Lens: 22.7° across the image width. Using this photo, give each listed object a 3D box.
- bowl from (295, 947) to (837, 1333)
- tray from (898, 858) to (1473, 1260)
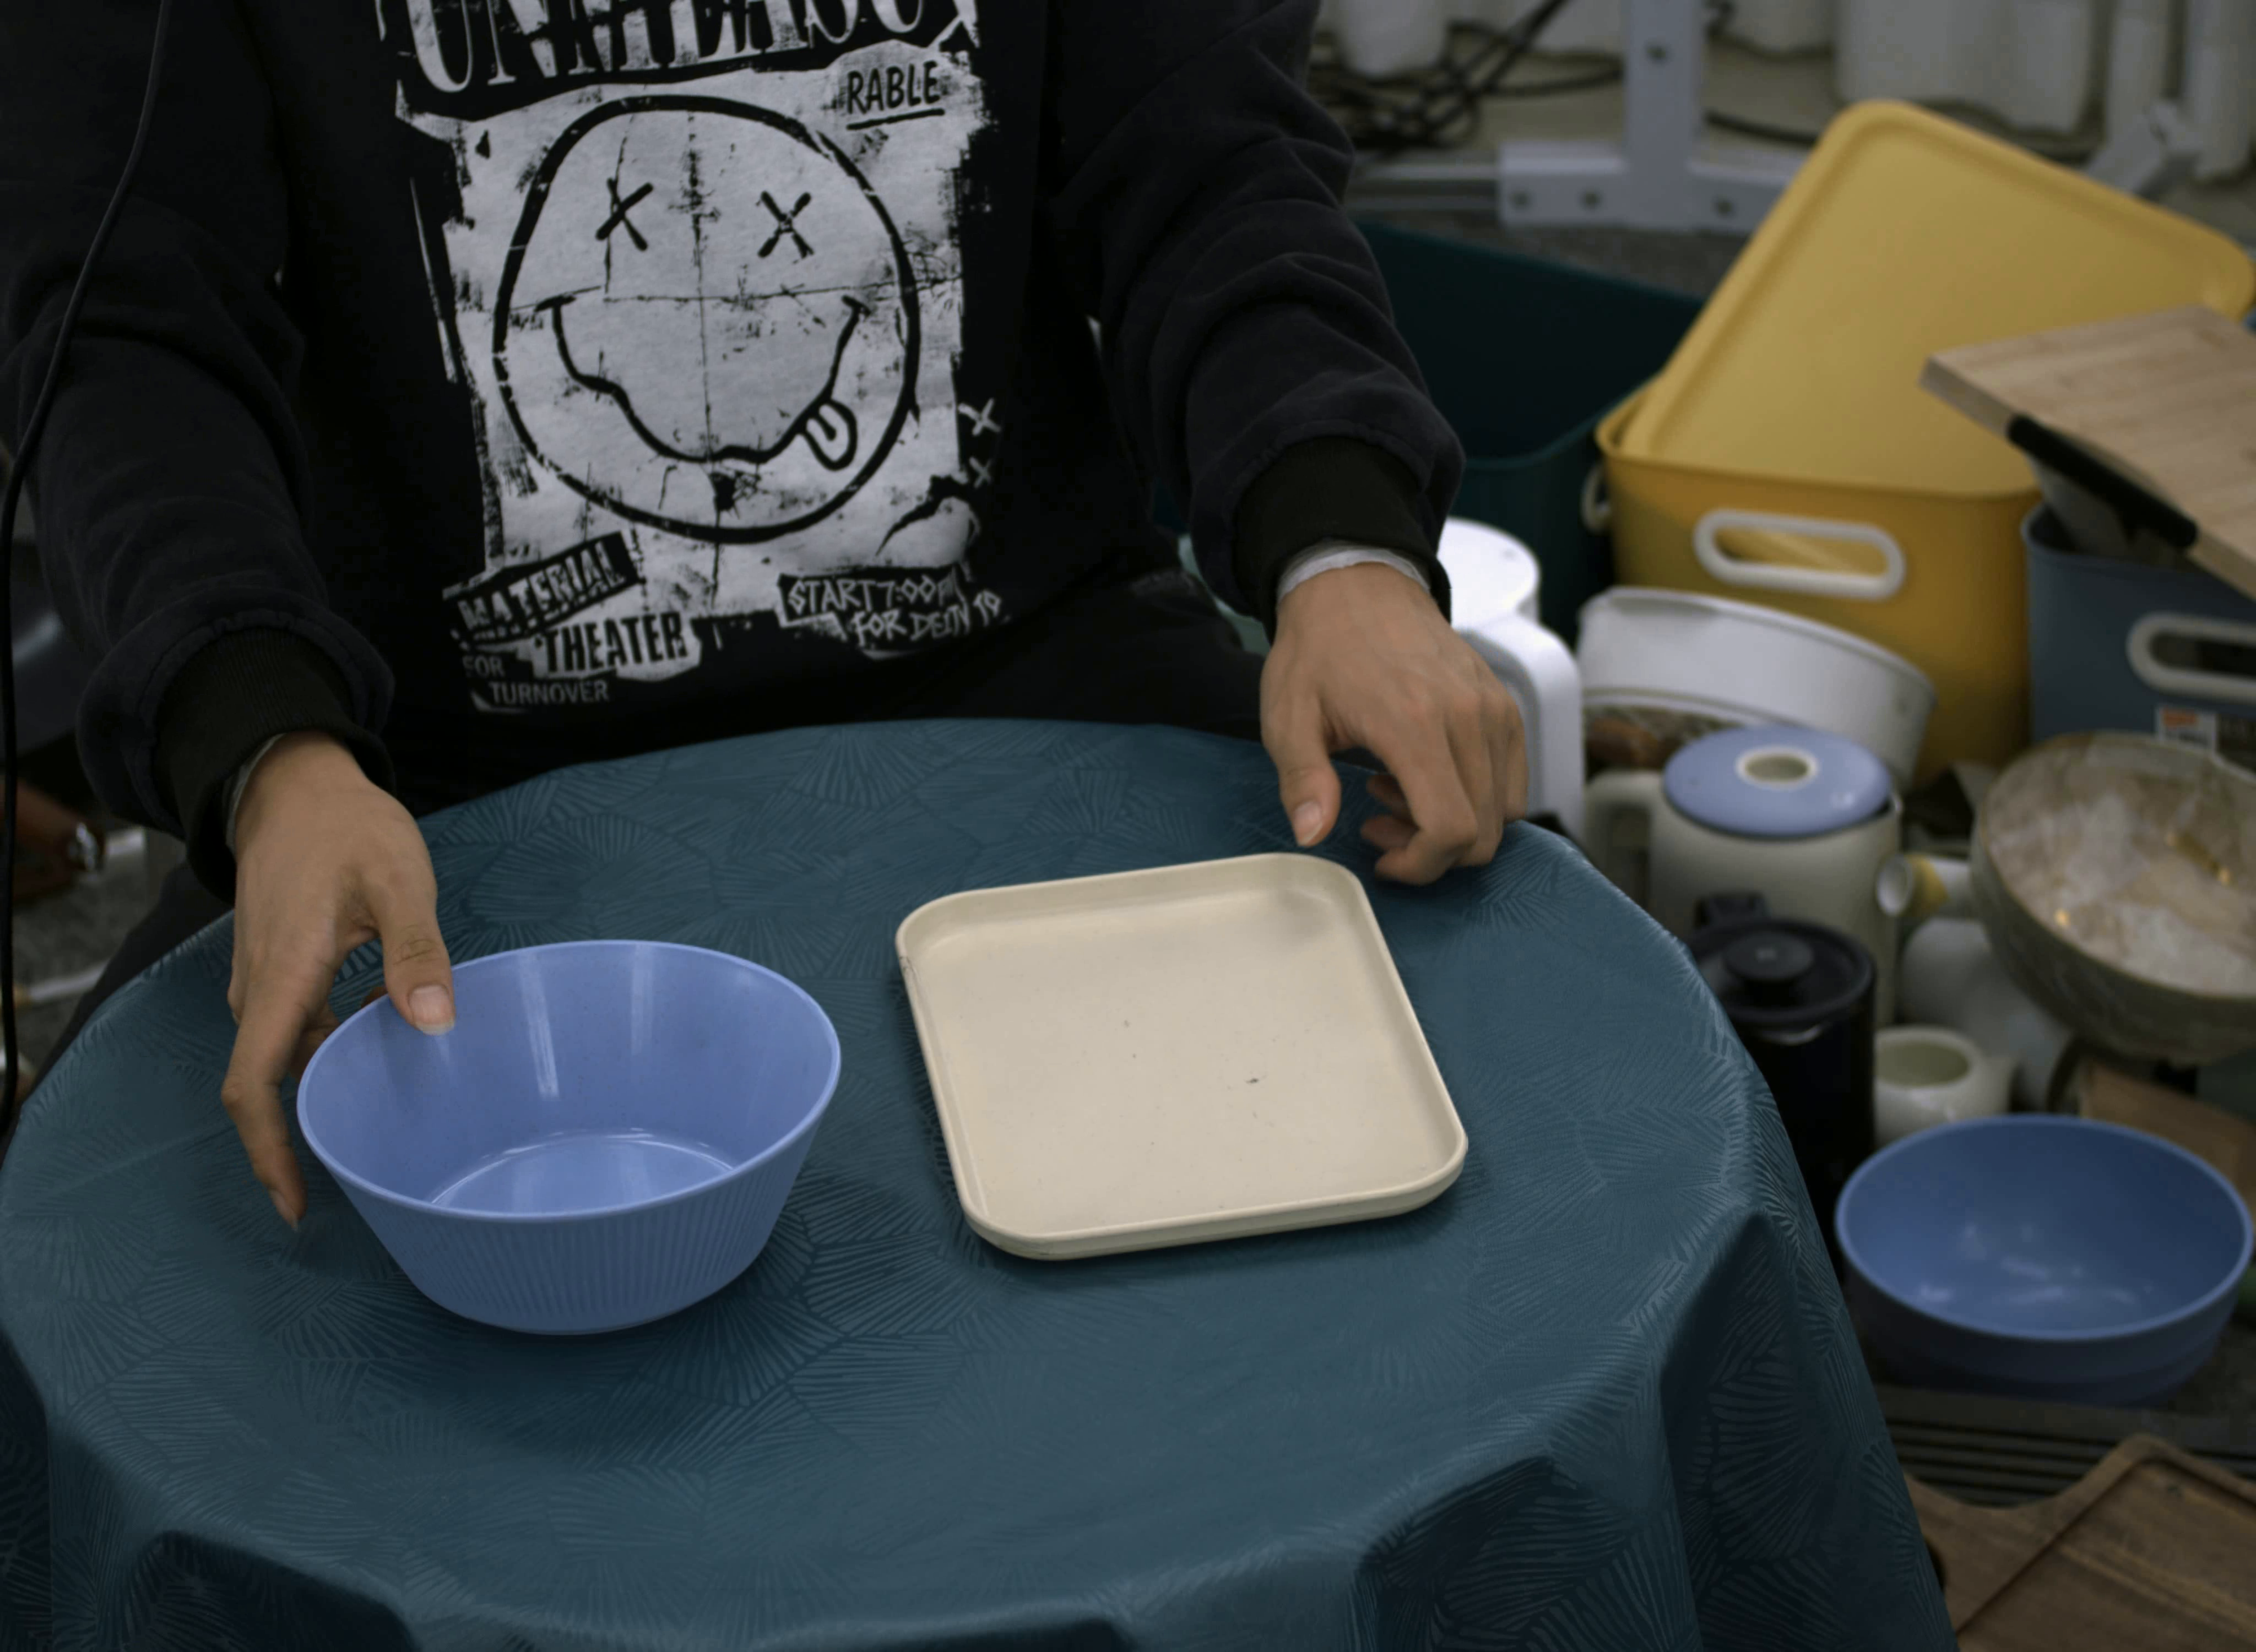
[{"bbox_3d":[-0.180,0.108,1.829,0.175,0.069,0.179,-2,27,1],"label":"bowl"},{"bbox_3d":[0.016,0.079,1.924,0.171,0.017,0.242,-6,27,-7],"label":"tray"}]
